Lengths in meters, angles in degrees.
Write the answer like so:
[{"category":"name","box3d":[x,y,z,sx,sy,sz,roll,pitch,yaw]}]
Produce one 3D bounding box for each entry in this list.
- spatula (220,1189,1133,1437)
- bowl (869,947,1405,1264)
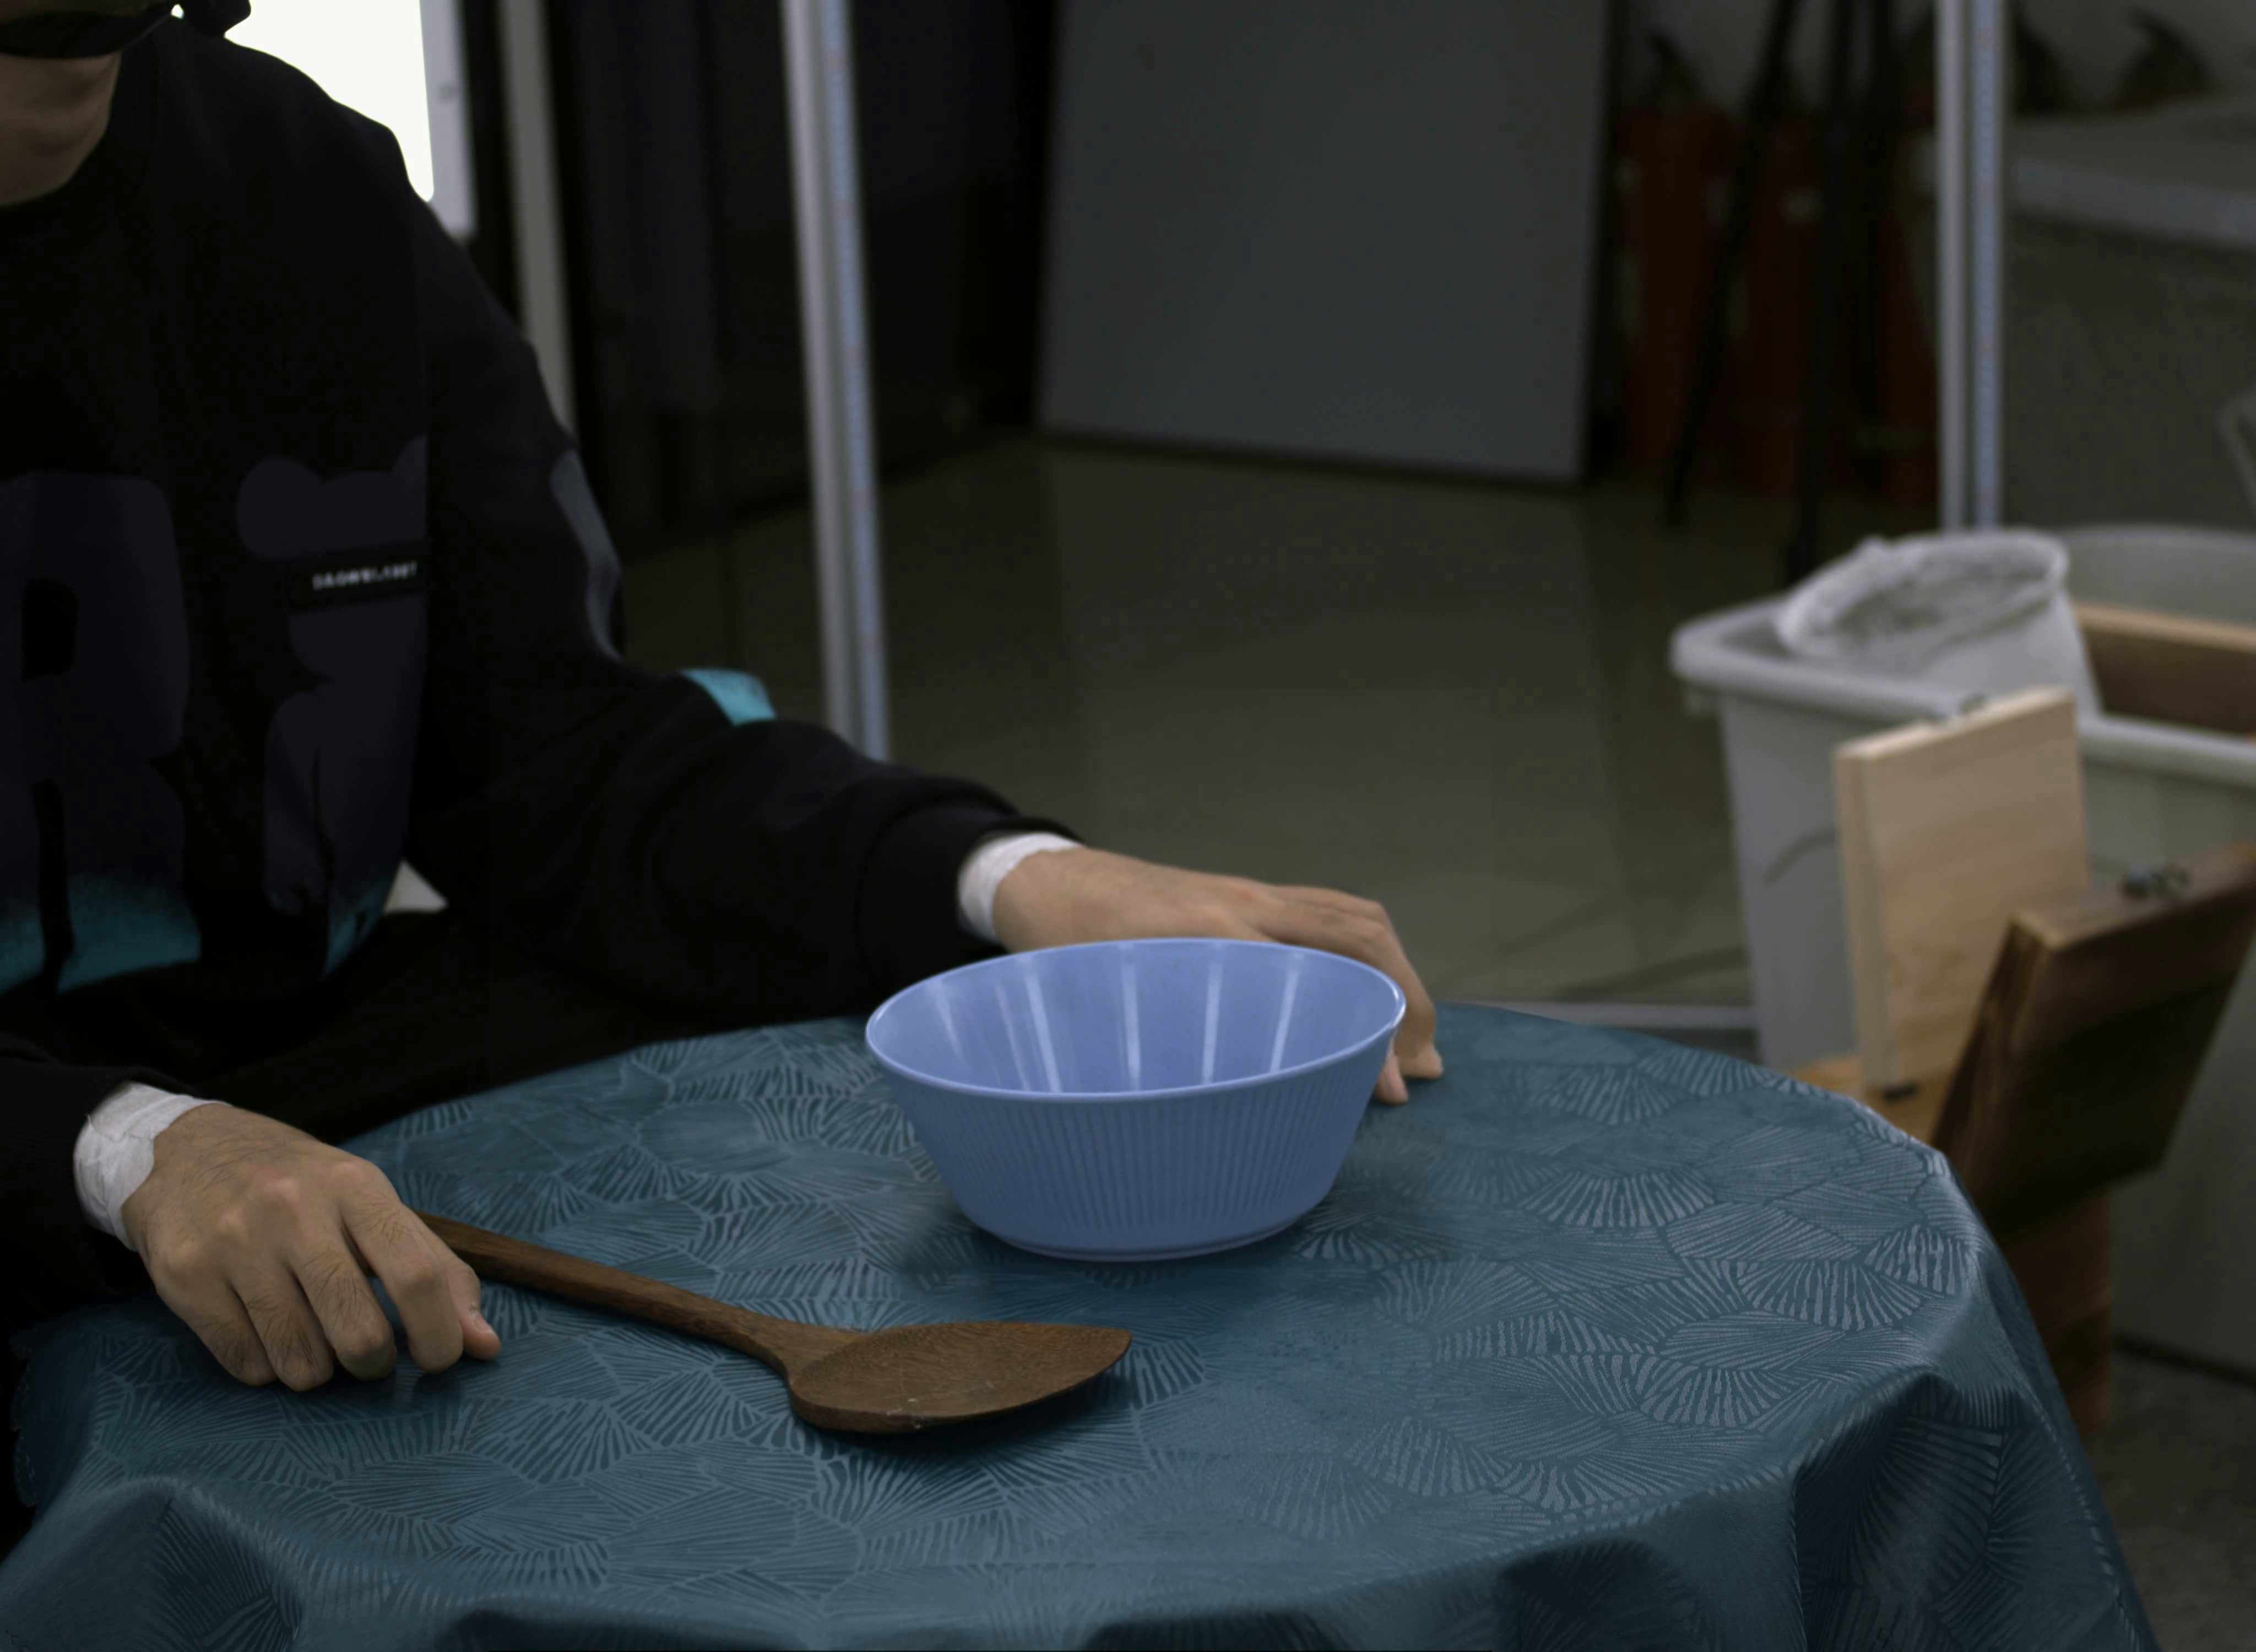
[{"category":"spatula","box3d":[-0.159,0.147,1.687,0.389,0.016,0.094,9,18,43]},{"category":"bowl","box3d":[0.005,0.092,1.741,0.174,0.071,0.176,-5,12,0]}]
